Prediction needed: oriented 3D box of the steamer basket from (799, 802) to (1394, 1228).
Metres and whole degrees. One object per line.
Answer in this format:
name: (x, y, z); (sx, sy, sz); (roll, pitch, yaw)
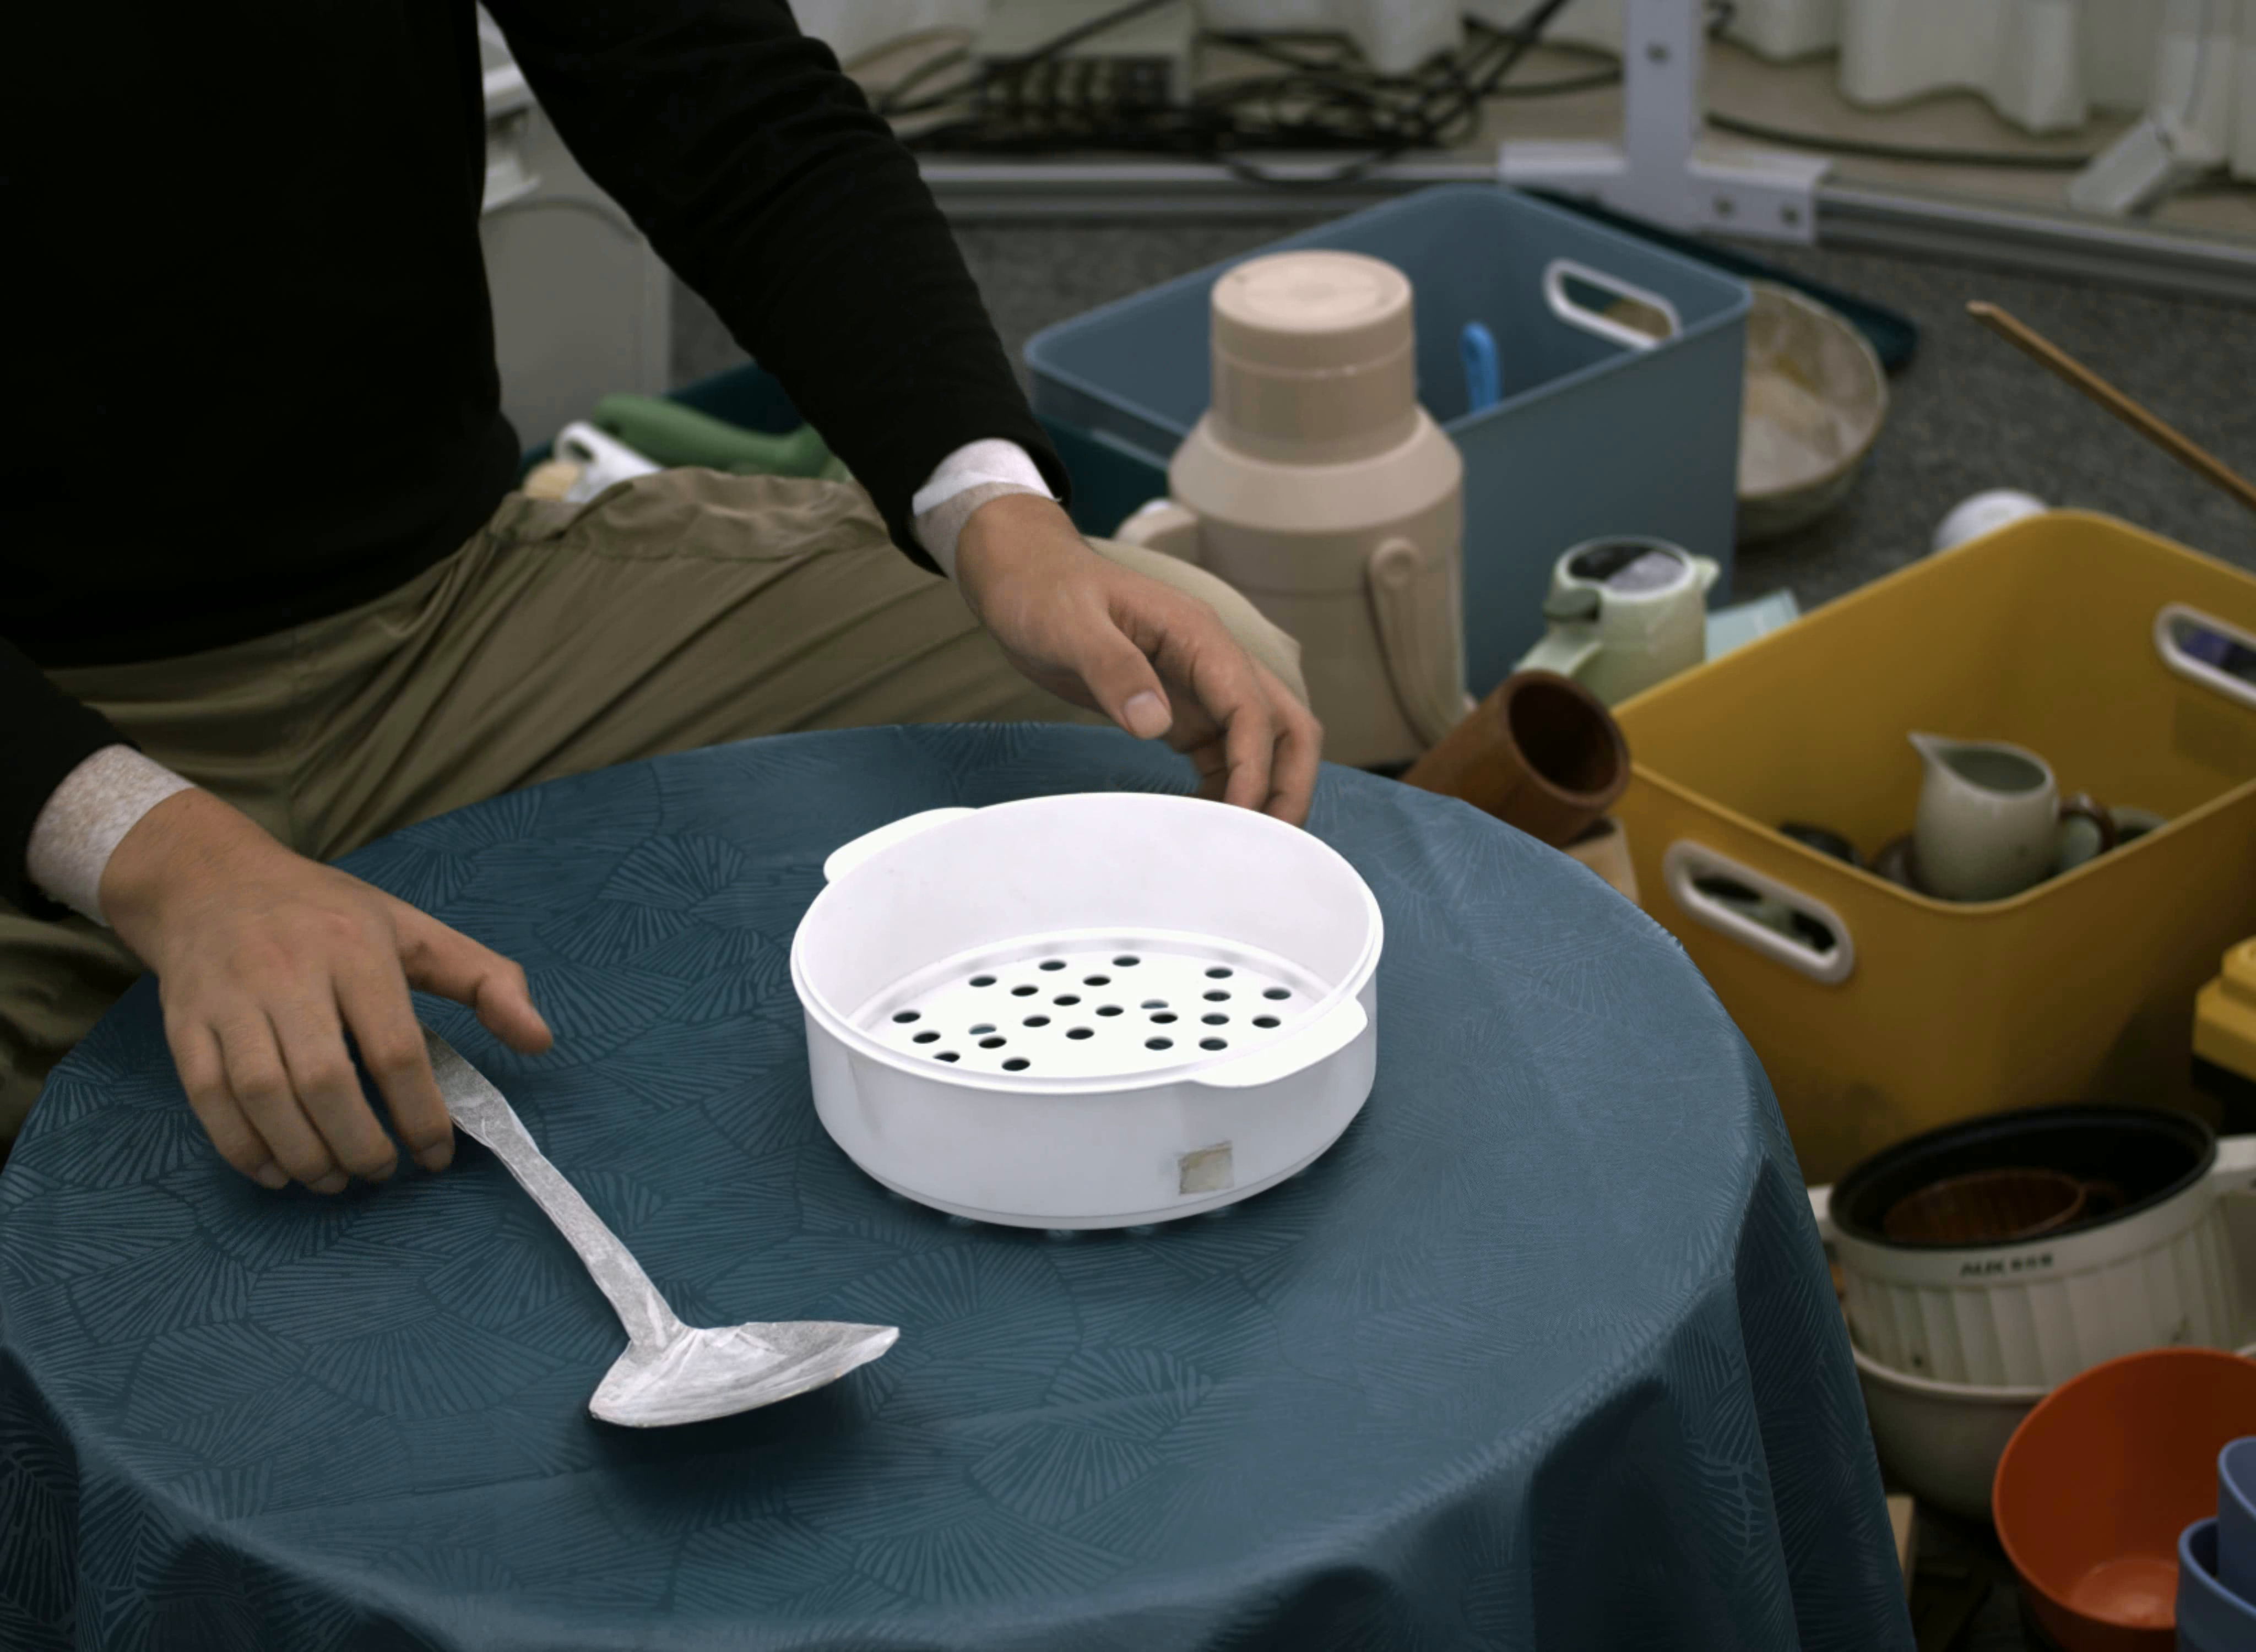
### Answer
steamer basket: (-0.009, 0.064, 1.898); (0.204, 0.068, 0.230); (-22, 32, -35)

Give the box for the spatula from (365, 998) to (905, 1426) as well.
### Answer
spatula: (-0.186, 0.118, 1.846); (0.099, 0.044, 0.366); (-18, 31, -23)
